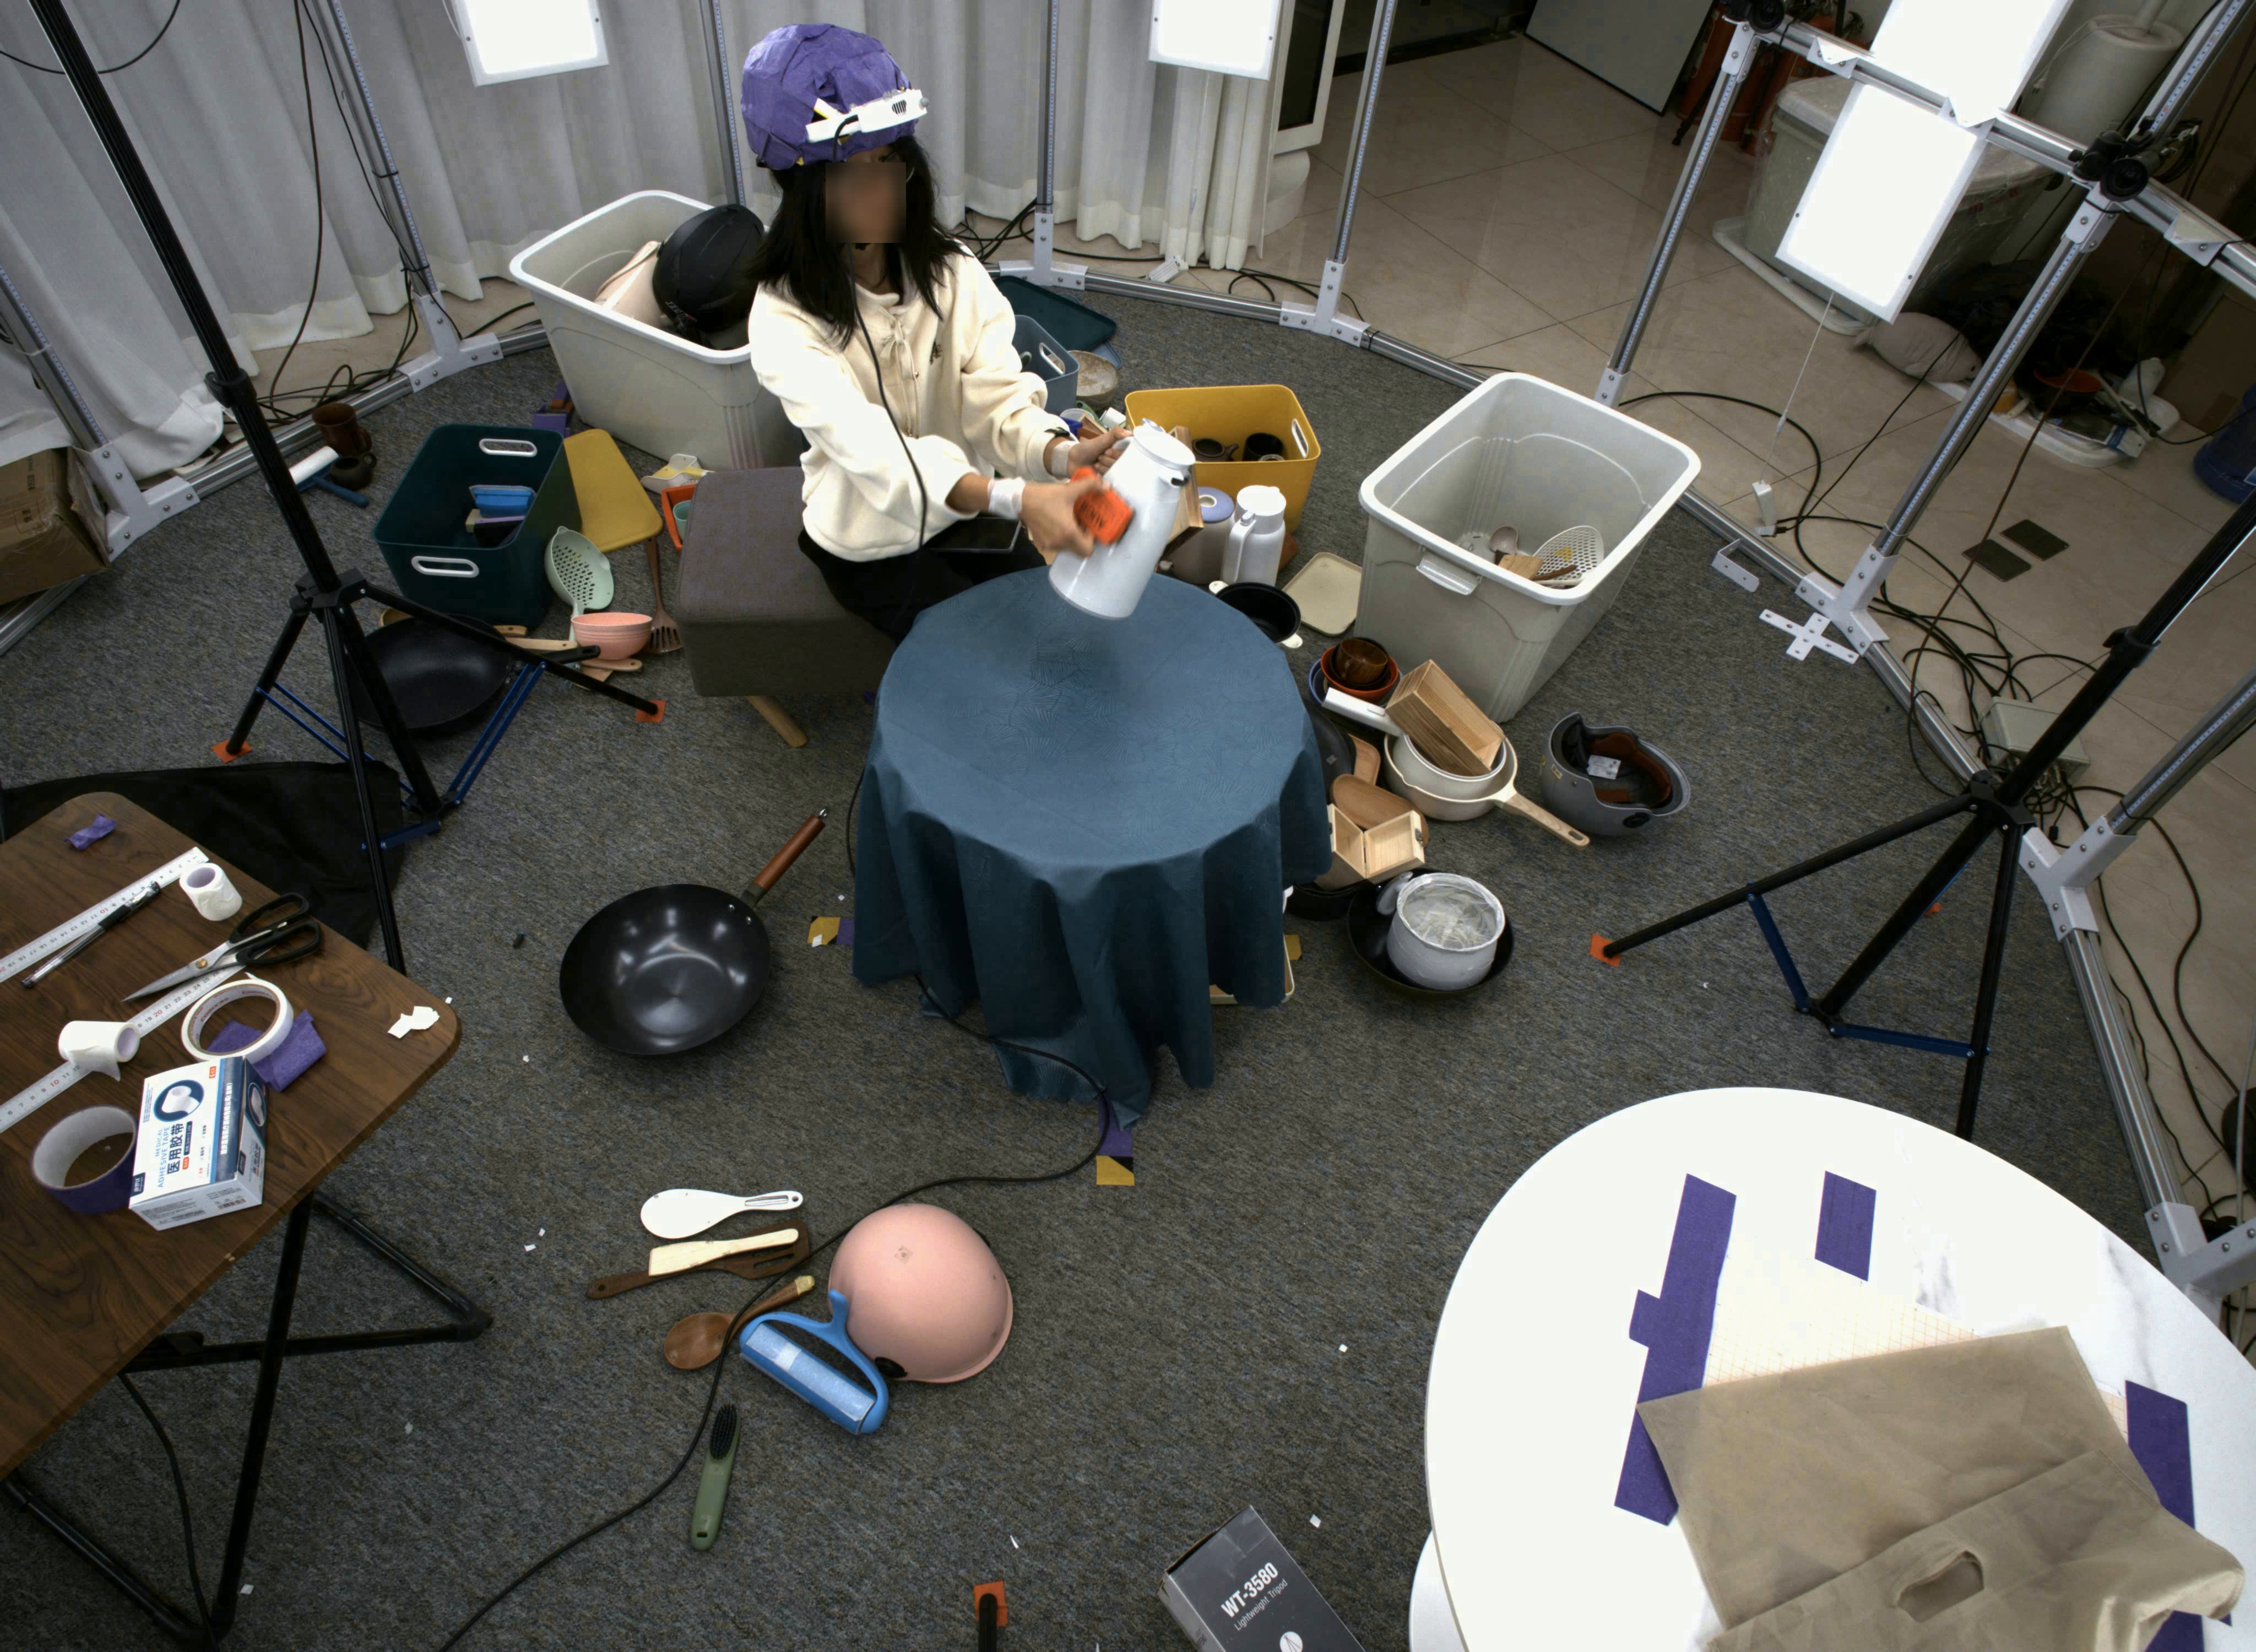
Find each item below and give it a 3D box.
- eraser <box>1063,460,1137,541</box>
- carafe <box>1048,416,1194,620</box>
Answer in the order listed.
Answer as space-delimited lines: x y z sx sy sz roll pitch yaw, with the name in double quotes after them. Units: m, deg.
-0.037 -0.427 1.693 0.023 0.058 0.110 1 42 -54 "eraser"
-0.010 -0.433 1.769 0.131 0.244 0.172 5 39 -34 "carafe"
